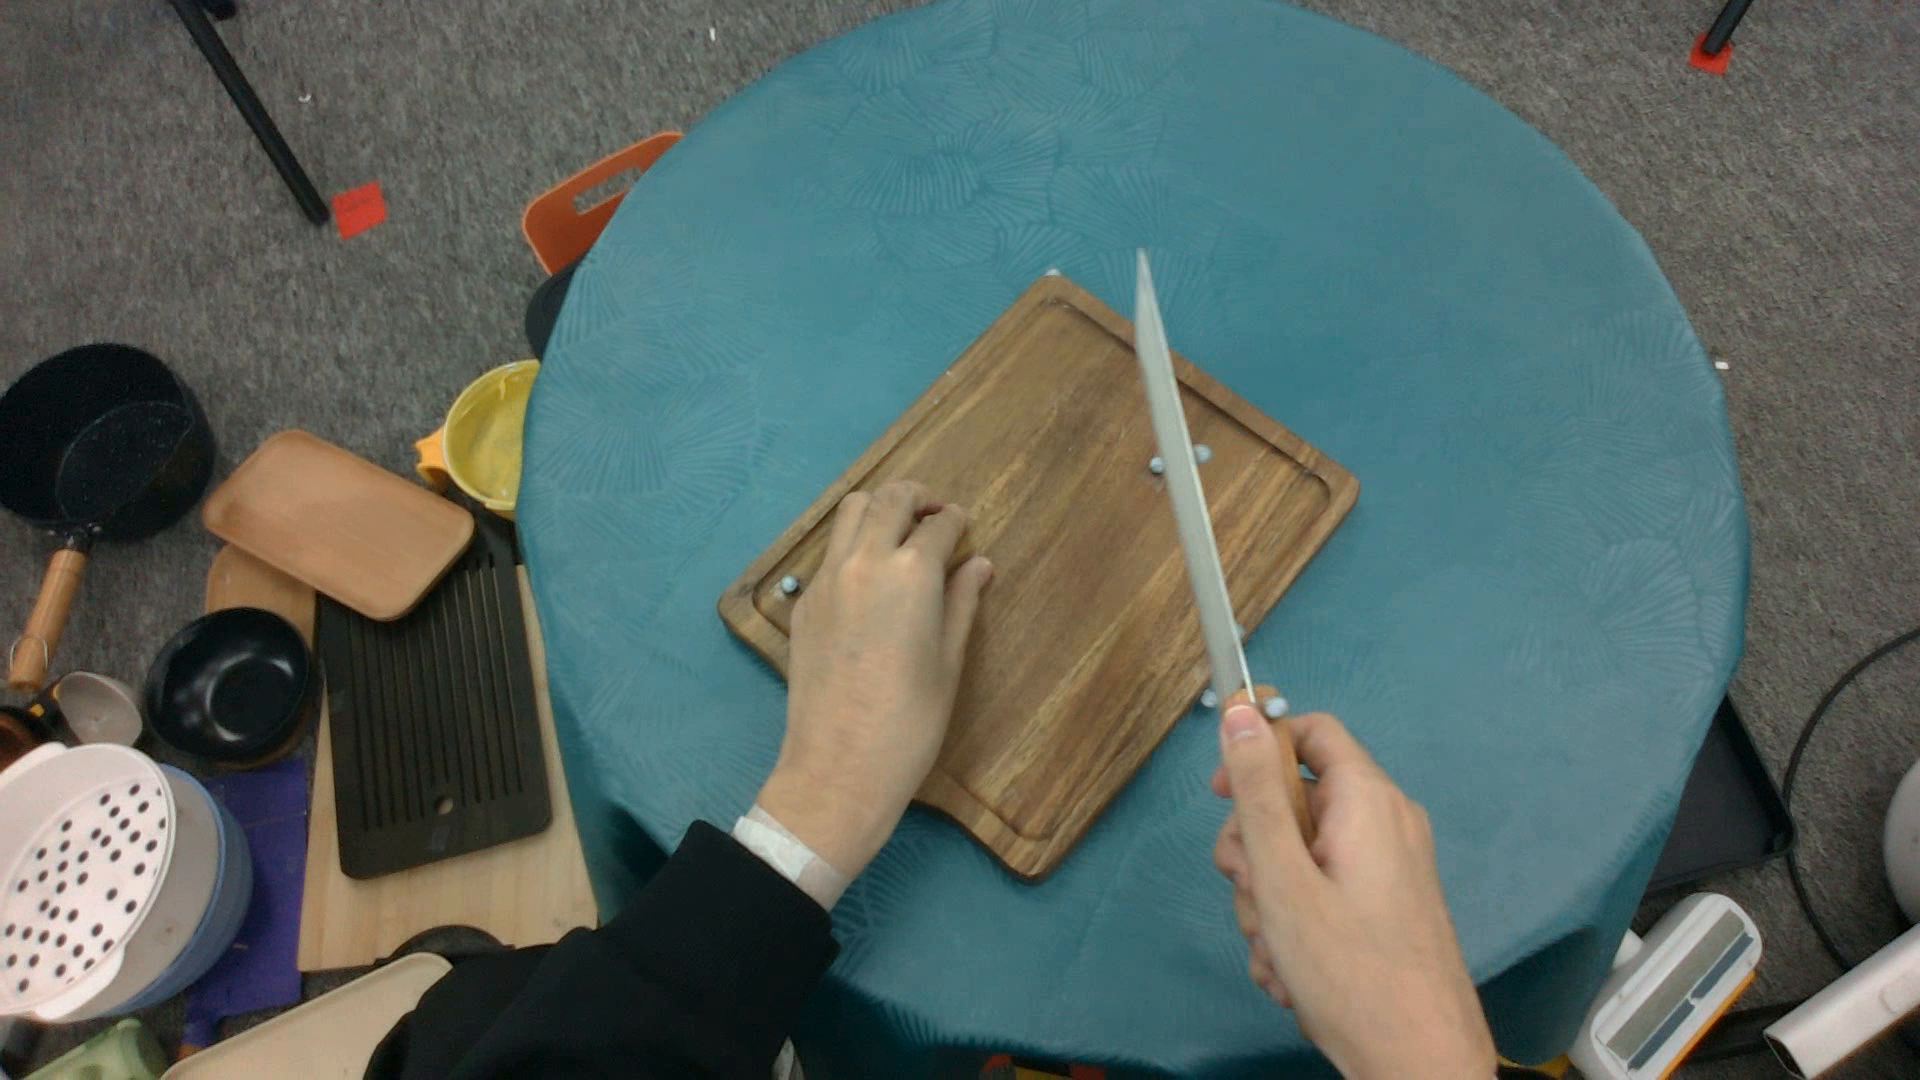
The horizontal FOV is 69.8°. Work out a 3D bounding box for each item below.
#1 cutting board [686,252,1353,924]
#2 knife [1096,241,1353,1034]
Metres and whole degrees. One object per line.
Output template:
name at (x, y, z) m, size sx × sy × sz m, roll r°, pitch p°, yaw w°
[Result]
cutting board at (0.004, 0.031, 0.632) m, size 0.201 × 0.023 × 0.353 m, roll 38°, pitch 71°, yaw 16°
knife at (0.091, 0.031, 0.532) m, size 0.021 × 0.092 × 0.306 m, roll -13°, pitch 70°, yaw 0°
